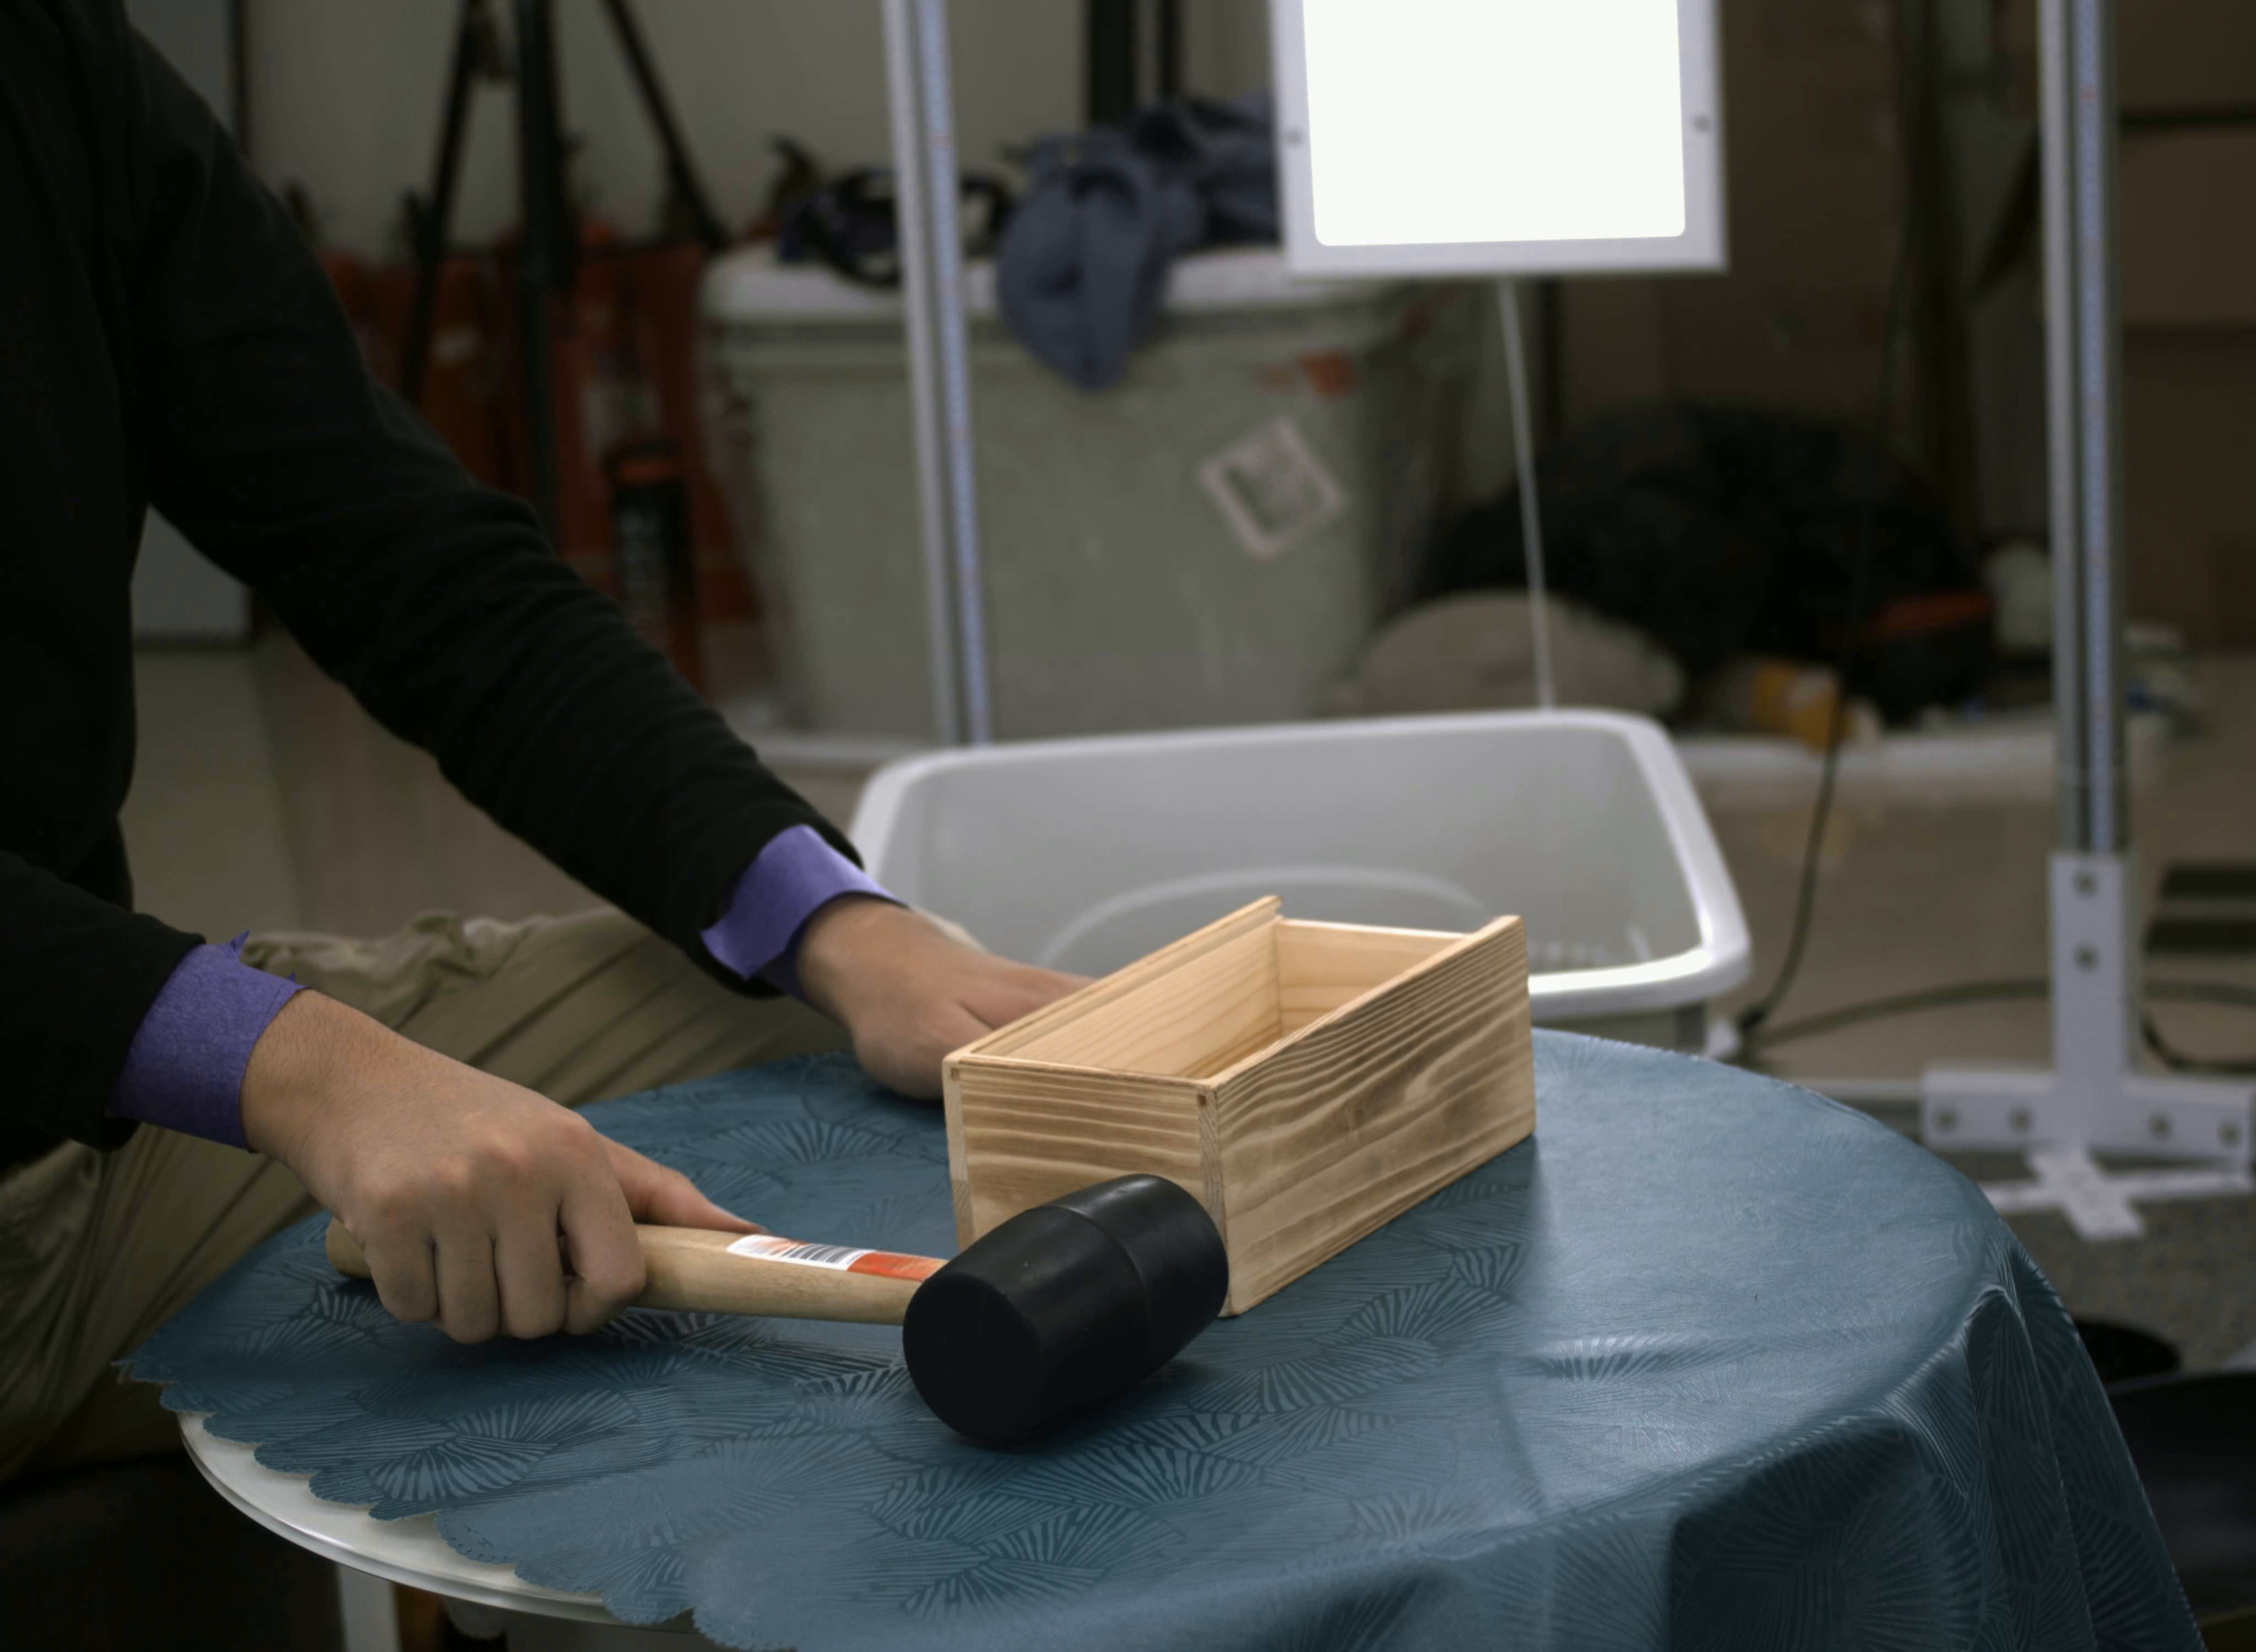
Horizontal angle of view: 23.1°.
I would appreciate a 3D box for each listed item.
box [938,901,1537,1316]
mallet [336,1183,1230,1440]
[{"bbox_3d":[0.041,0.091,1.860,0.109,0.080,0.206,4,16,33],"label":"box"},{"bbox_3d":[-0.128,0.138,1.775,0.346,0.064,0.099,6,15,39],"label":"mallet"}]
